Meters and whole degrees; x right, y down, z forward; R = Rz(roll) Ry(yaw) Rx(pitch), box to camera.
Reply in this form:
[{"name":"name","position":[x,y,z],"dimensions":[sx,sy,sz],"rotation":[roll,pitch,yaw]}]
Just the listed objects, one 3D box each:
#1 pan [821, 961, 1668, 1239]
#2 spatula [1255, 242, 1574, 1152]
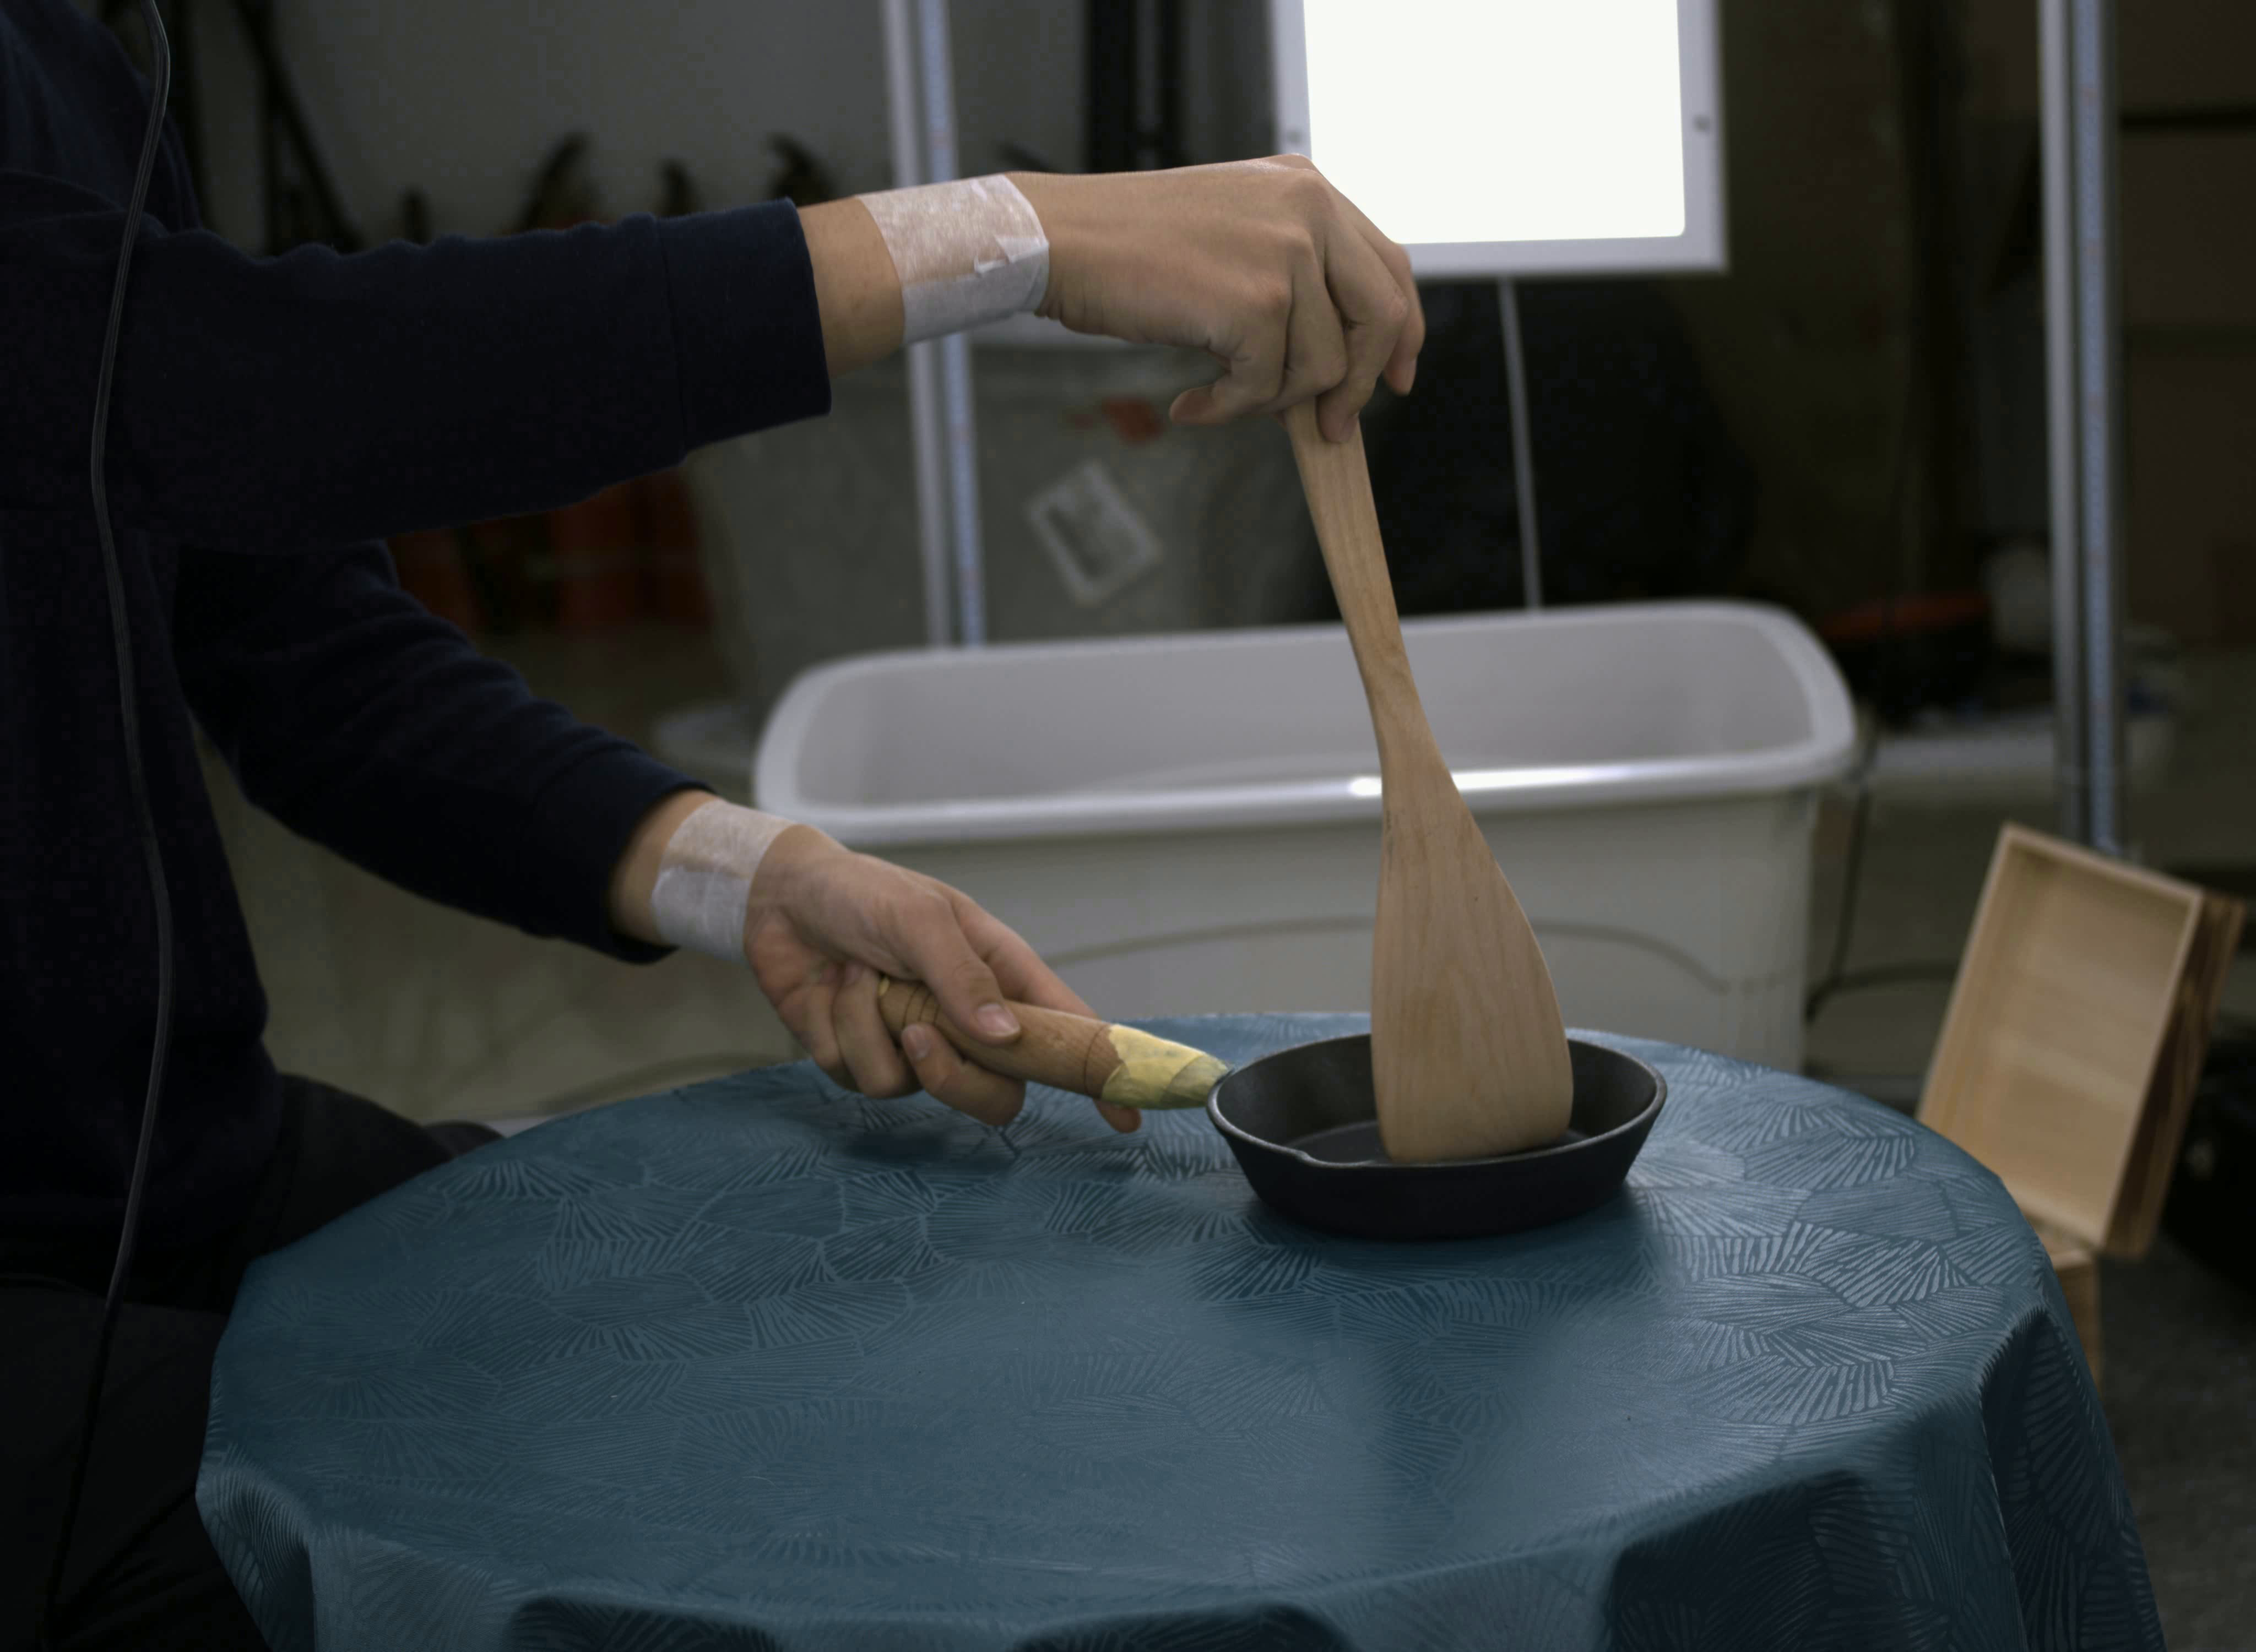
[{"name":"pan","position":[0.033,0.090,1.913],"dimensions":[0.330,0.050,0.165],"rotation":[7,17,32]},{"name":"spatula","position":[0.087,-0.036,1.849],"dimensions":[0.078,0.328,0.017],"rotation":[-18,12,-22]}]
